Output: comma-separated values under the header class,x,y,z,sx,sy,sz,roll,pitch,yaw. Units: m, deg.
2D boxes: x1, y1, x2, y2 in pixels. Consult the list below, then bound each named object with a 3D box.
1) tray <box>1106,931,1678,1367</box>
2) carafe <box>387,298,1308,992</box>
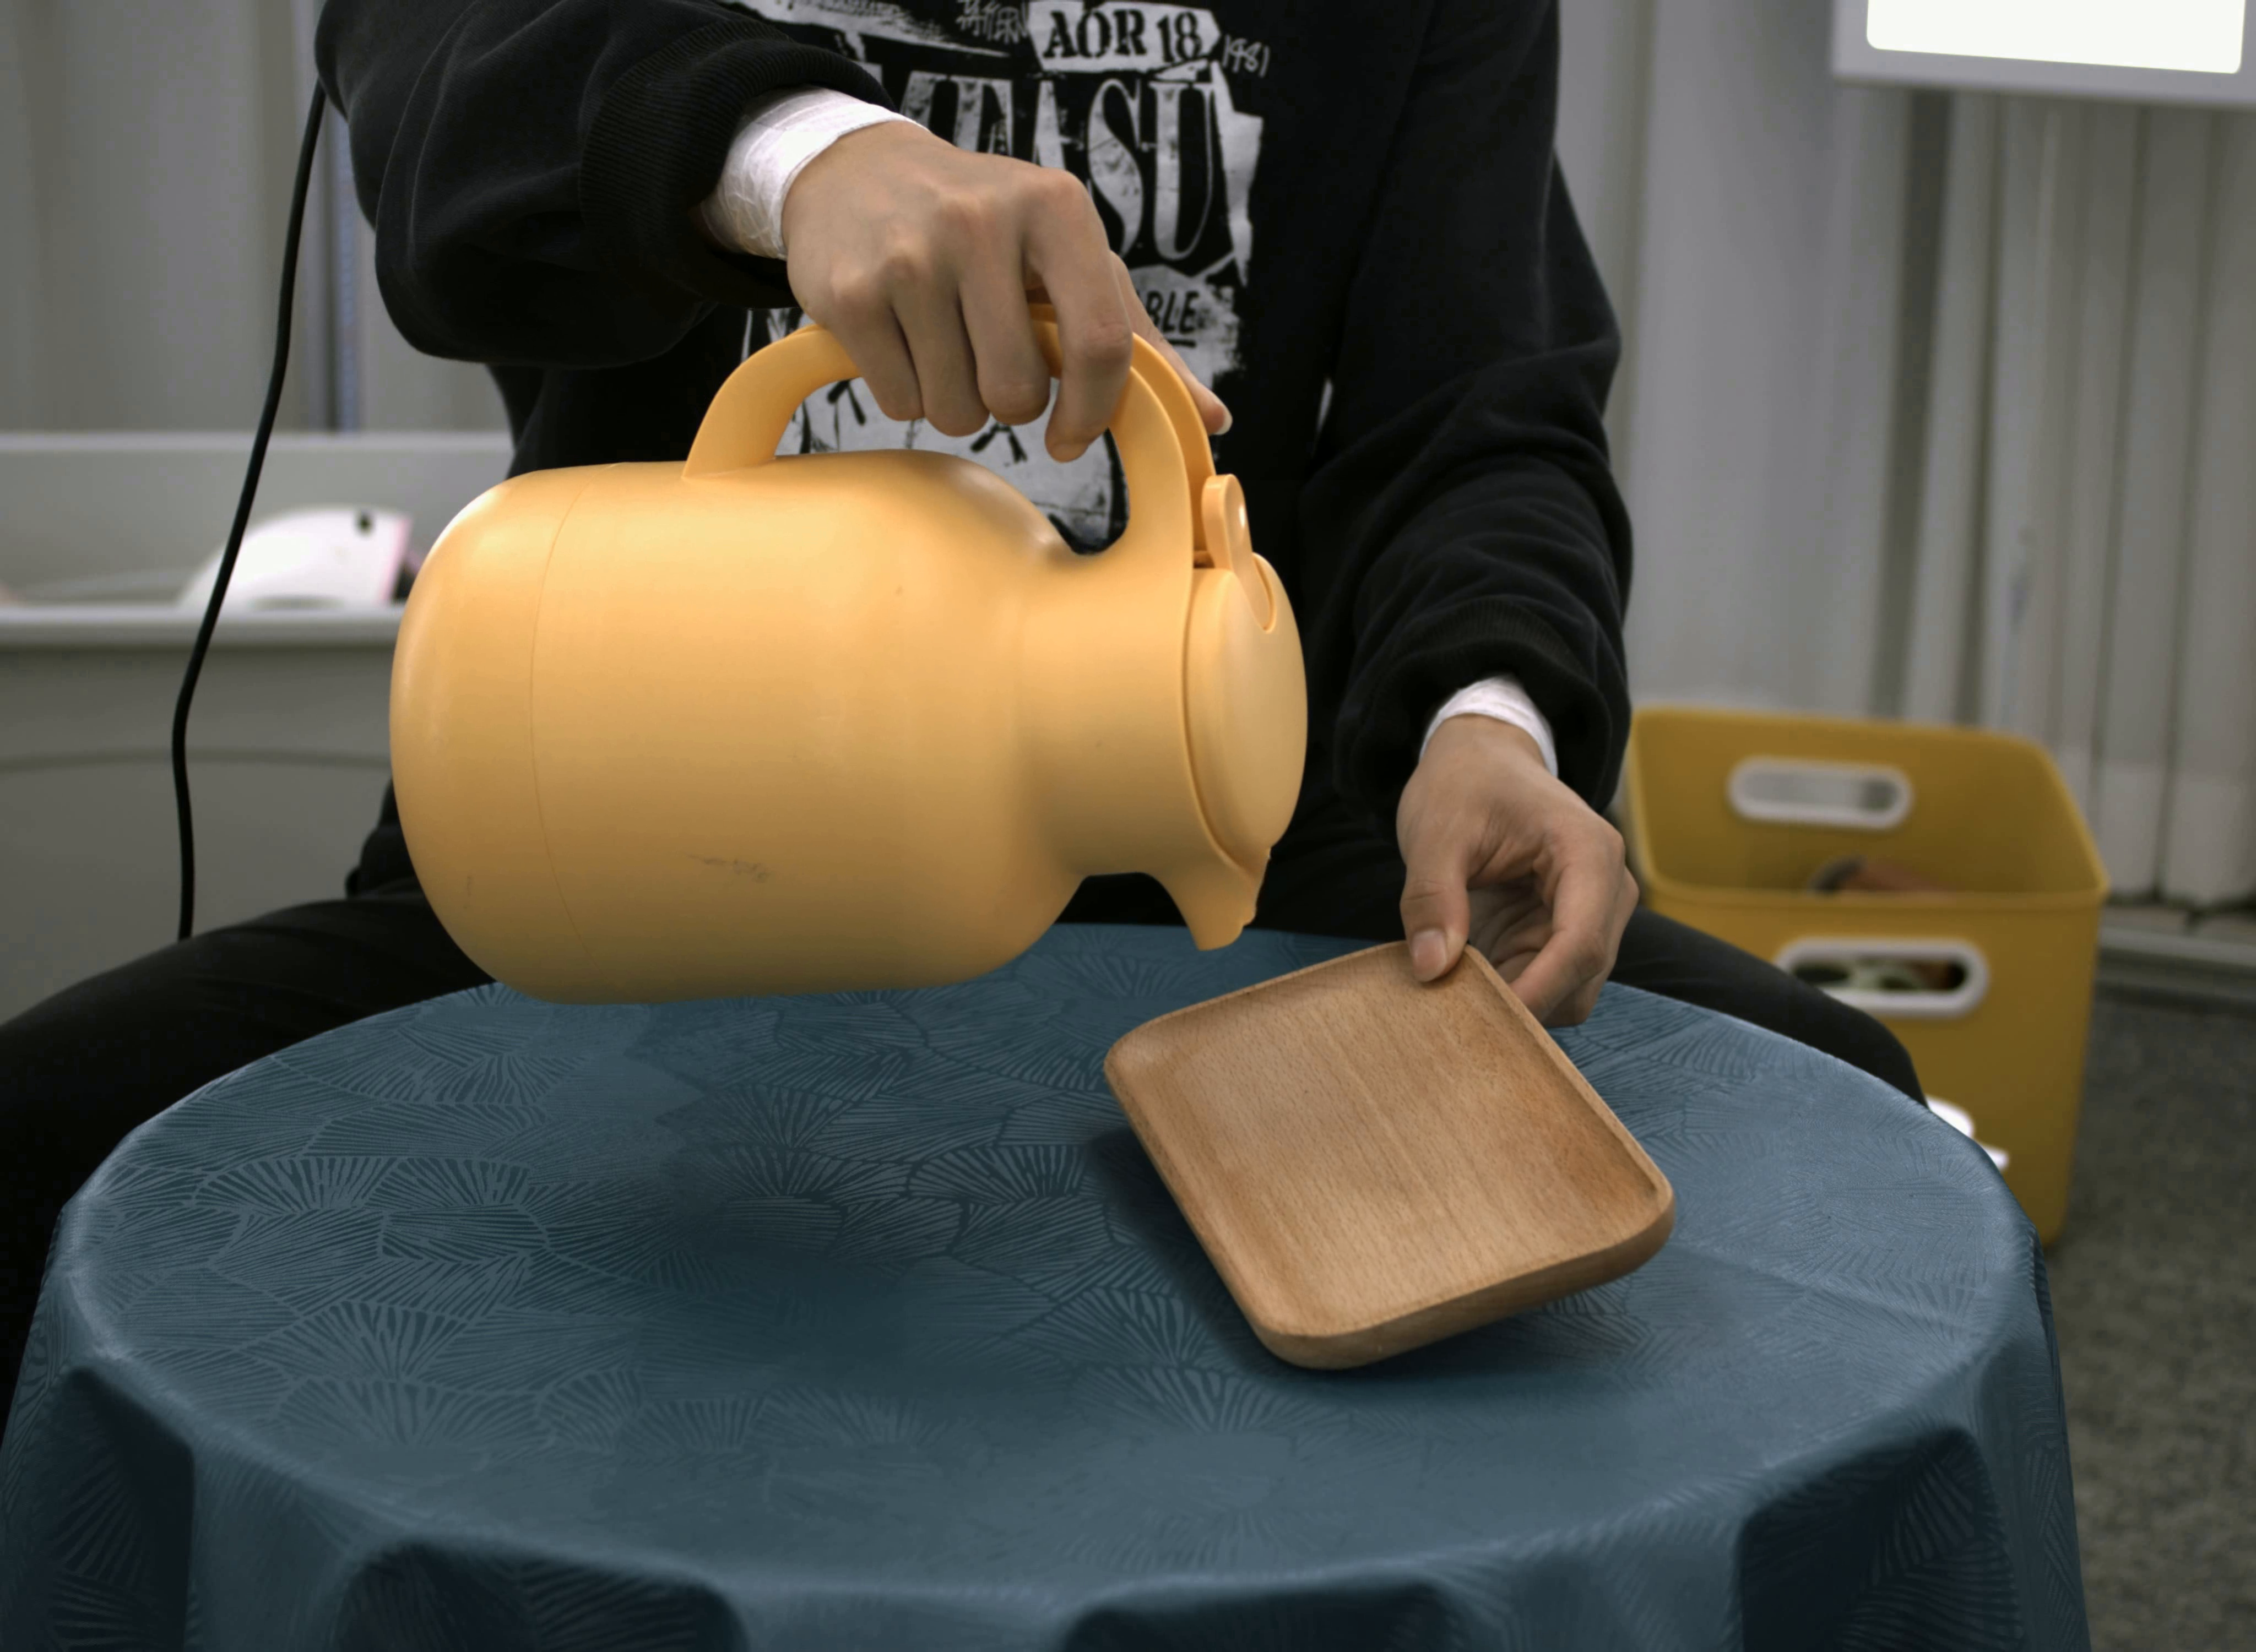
class,x,y,z,sx,sy,sz,roll,pitch,yaw
tray,0.075,0.094,1.583,0.130,0.023,0.248,-15,21,-7
carafe,-0.079,-0.052,1.552,0.258,0.204,0.163,-1,13,16
